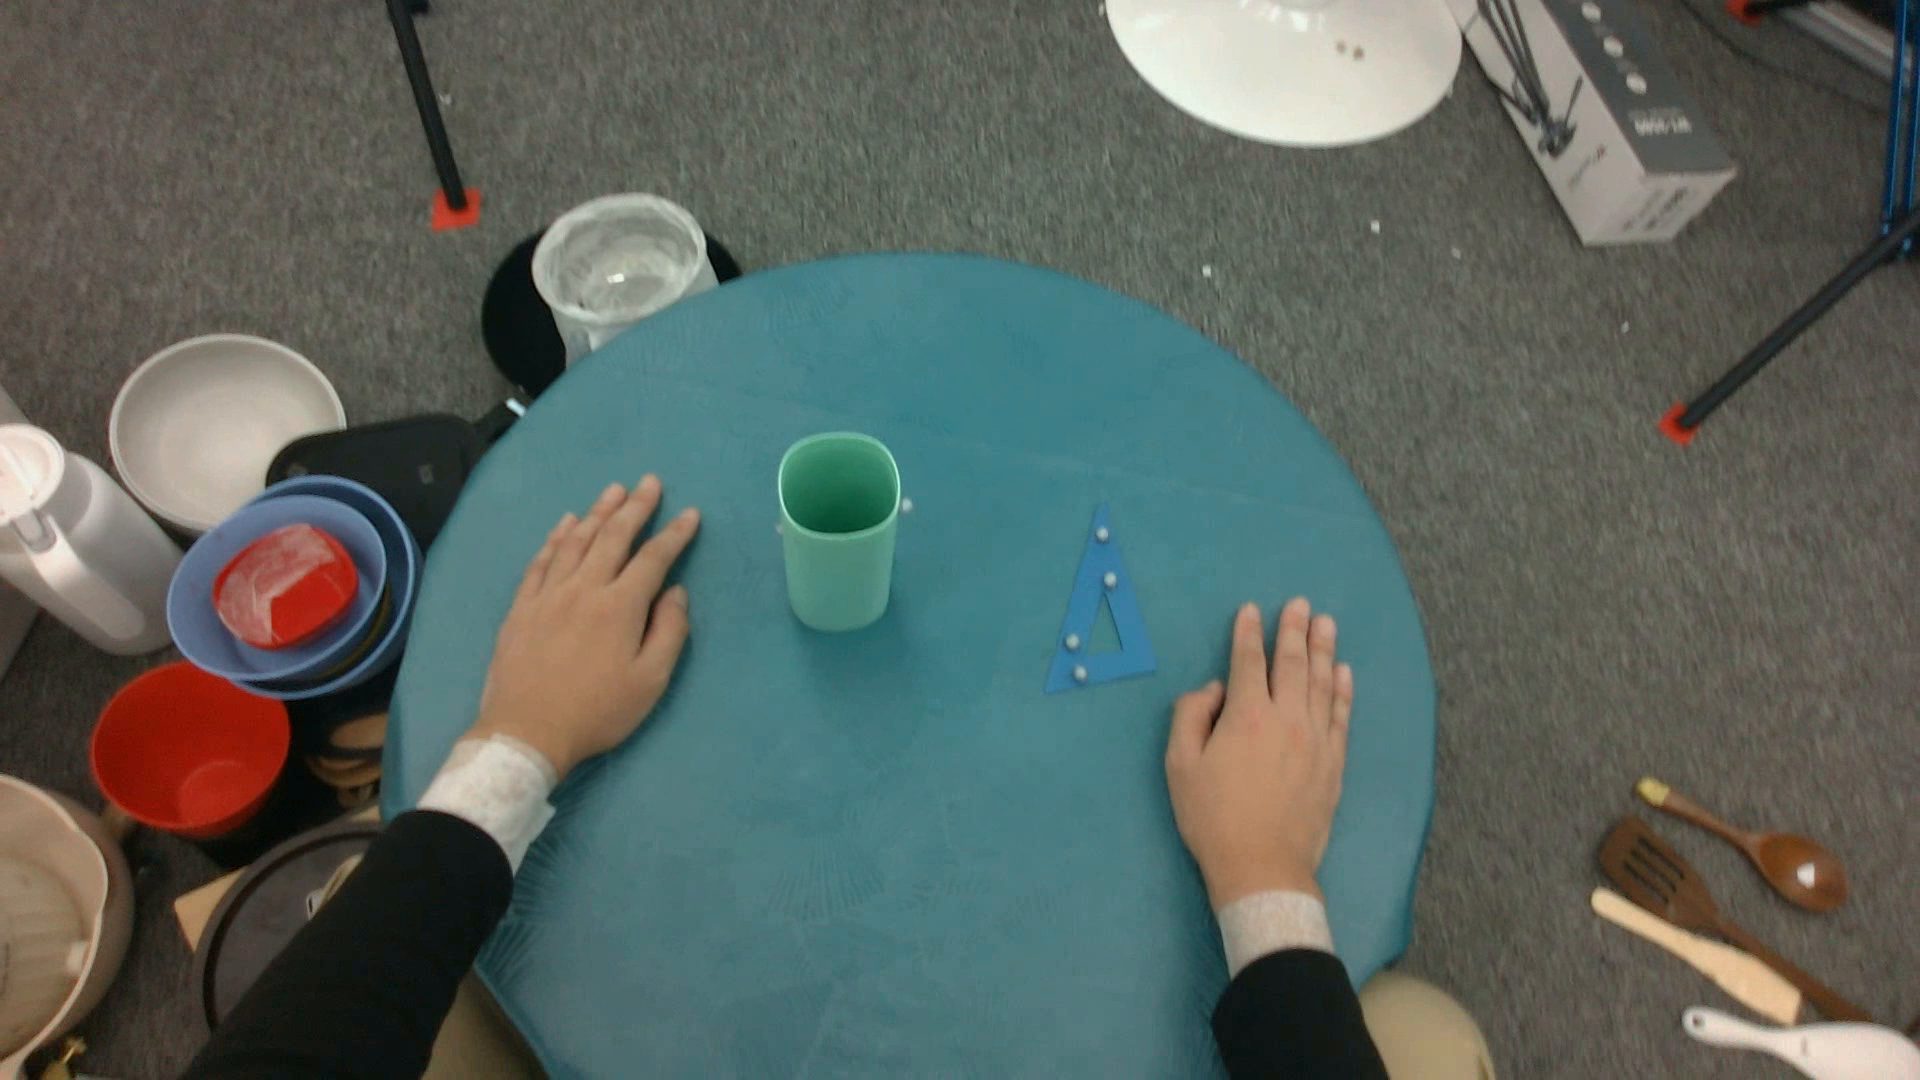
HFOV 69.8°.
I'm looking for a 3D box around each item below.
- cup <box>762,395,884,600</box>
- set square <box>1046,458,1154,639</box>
[{"bbox_3d":[-0.076,-0.019,0.759,0.067,0.132,0.067,3,64,-5],"label":"cup"},{"bbox_3d":[0.098,0.011,0.829,0.061,0.006,0.132,19,64,5],"label":"set square"}]
